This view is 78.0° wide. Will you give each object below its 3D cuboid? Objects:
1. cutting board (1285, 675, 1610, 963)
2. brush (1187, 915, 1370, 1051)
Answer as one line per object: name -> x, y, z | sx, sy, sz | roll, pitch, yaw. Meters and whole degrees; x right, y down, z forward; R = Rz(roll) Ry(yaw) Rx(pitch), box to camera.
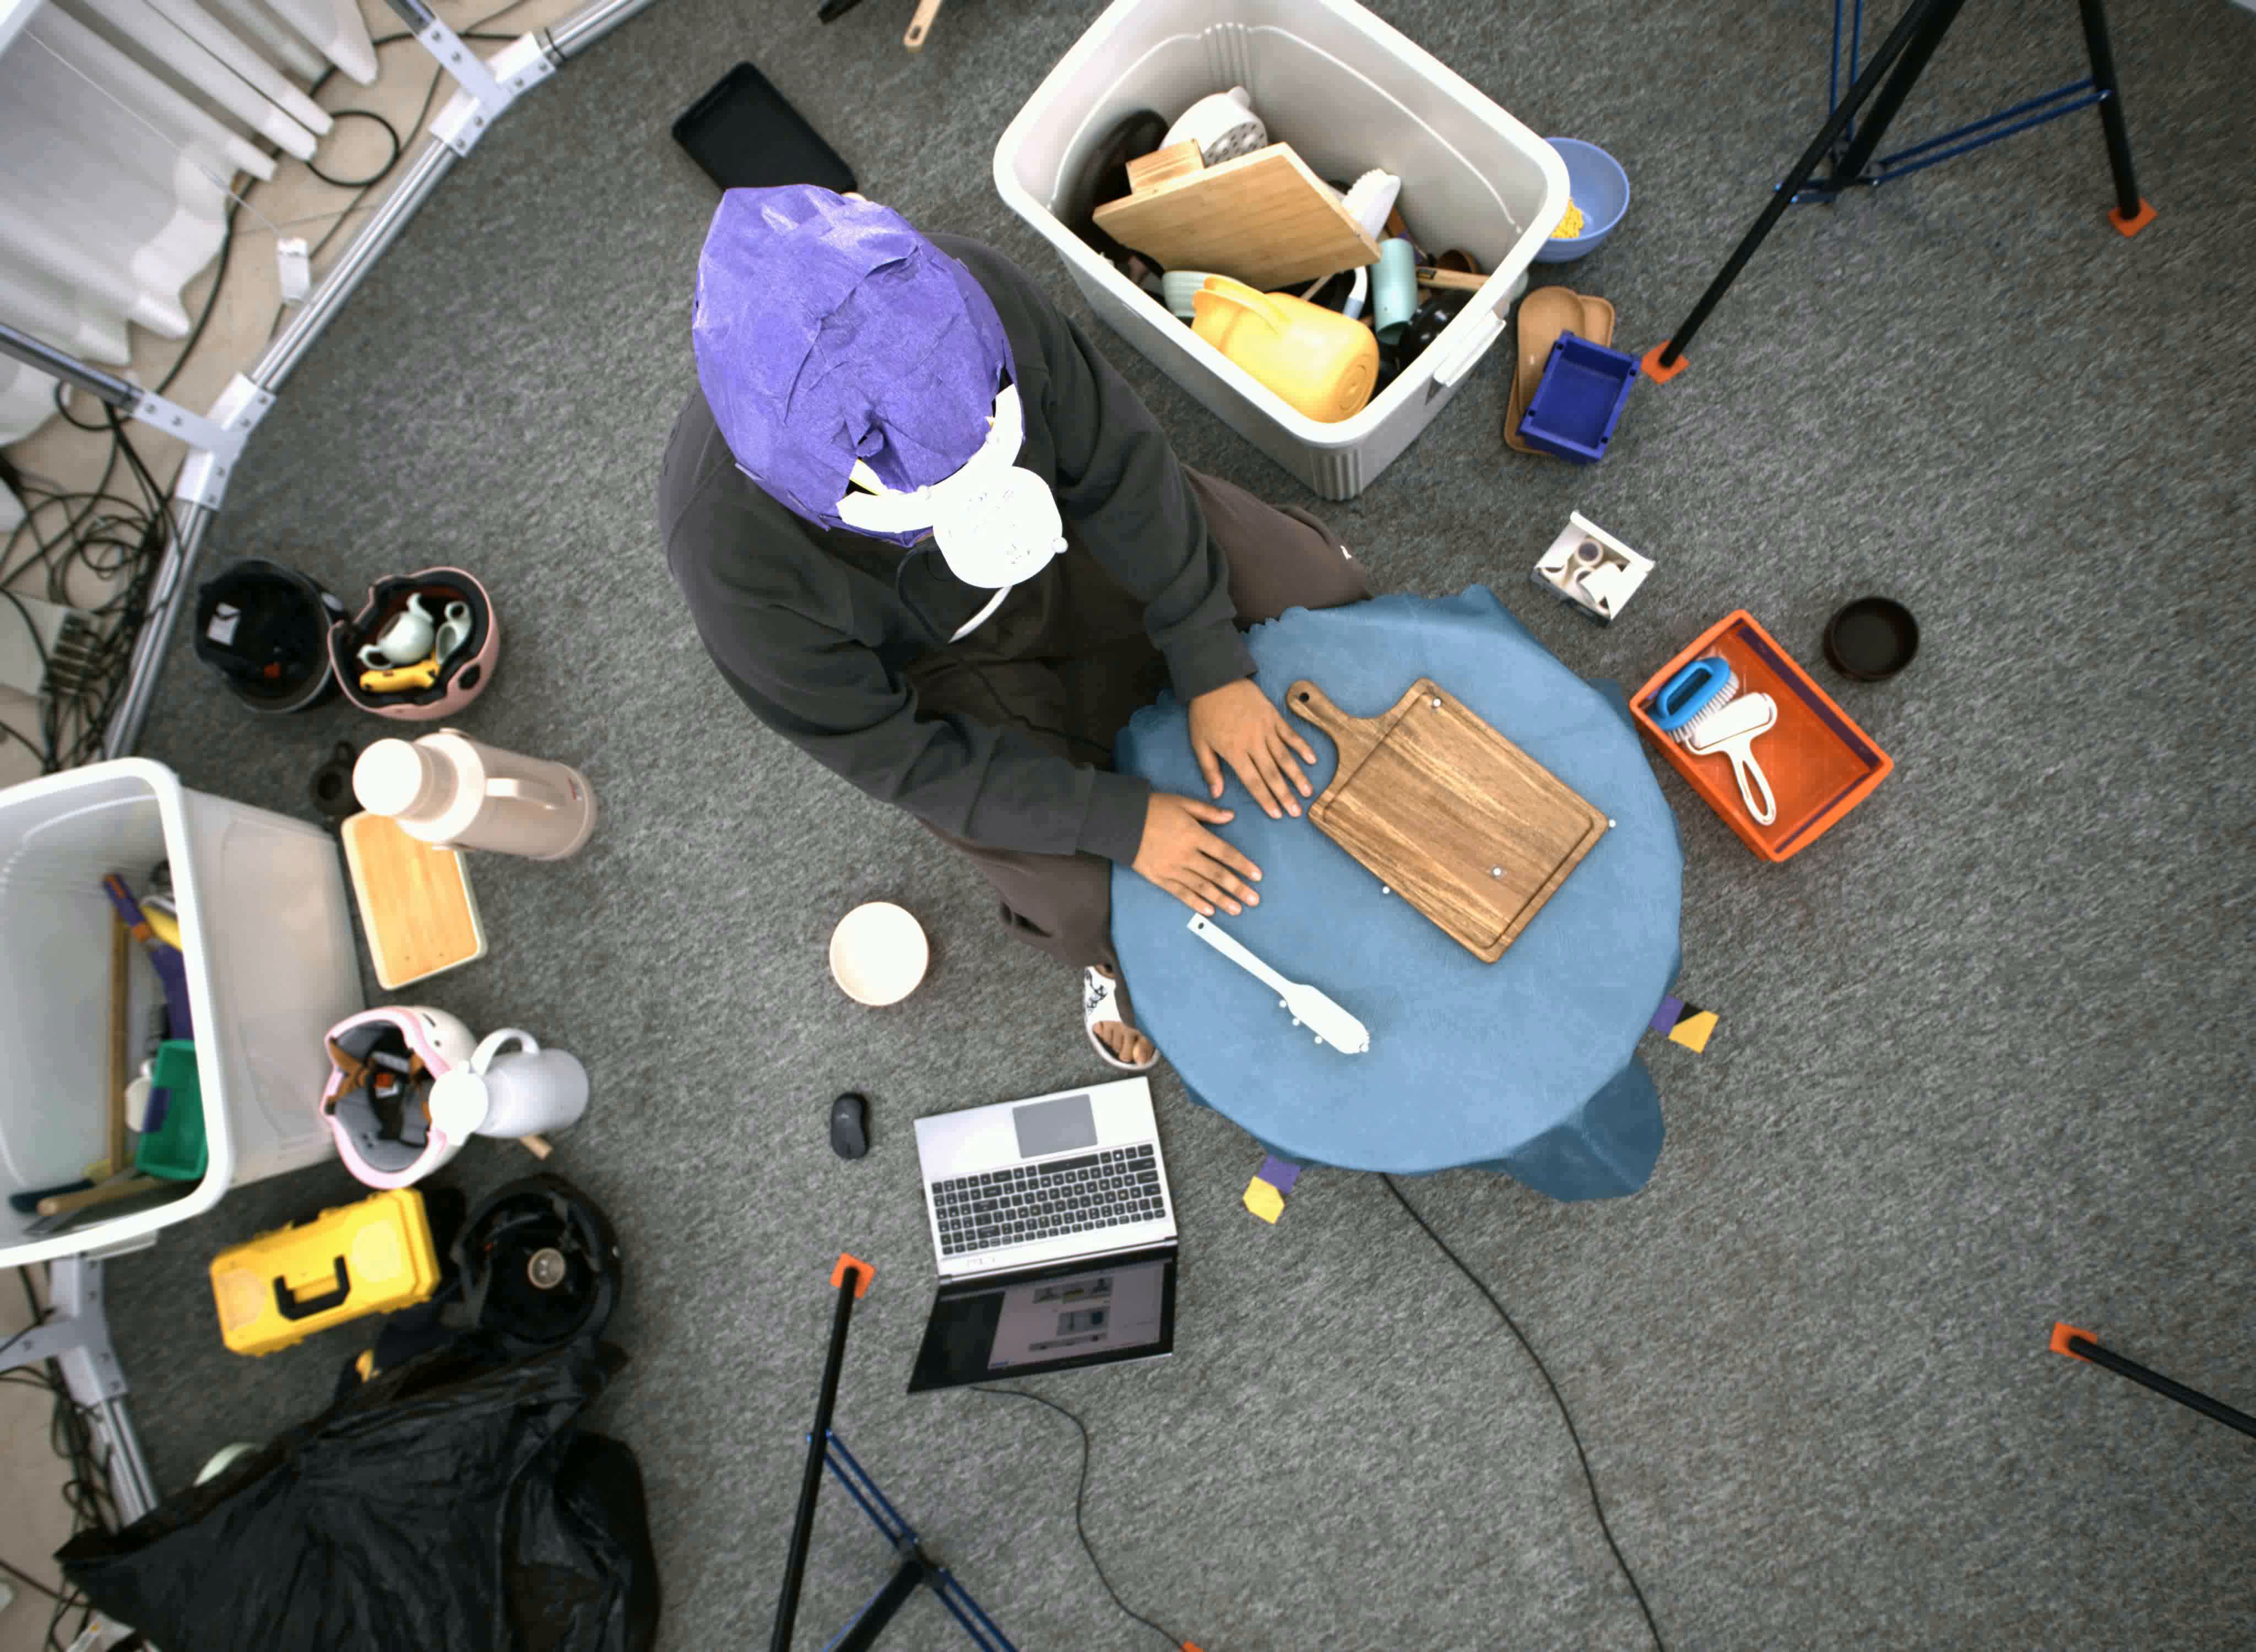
cutting board -> 0.308, -0.042, 1.450 | 0.351, 0.023, 0.201 | 40, 94, 11
brush -> 0.156, 0.164, 1.462 | 0.227, 0.050, 0.038 | 34, 89, 20
